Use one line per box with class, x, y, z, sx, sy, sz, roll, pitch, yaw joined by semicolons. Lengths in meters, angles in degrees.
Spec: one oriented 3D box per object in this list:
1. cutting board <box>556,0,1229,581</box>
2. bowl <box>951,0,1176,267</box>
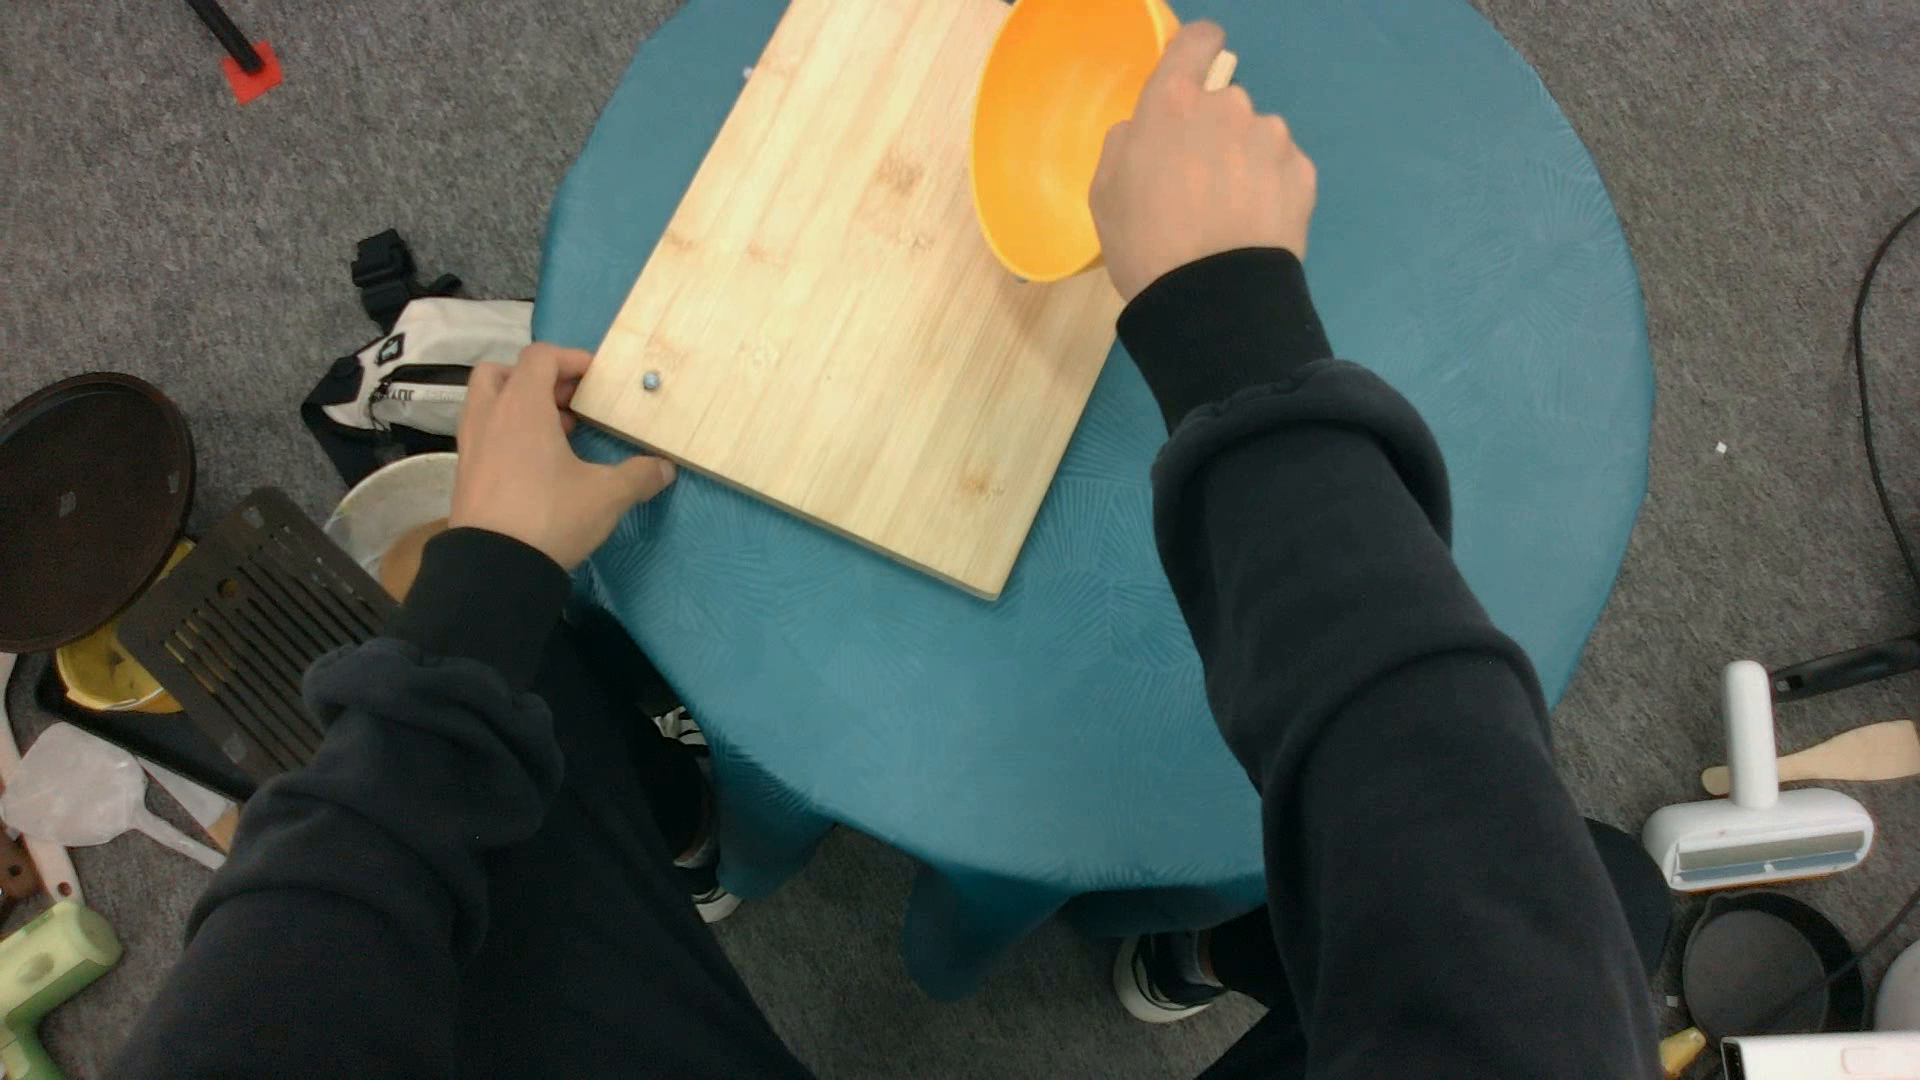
cutting board;-0.029;-0.177;0.745;0.251;0.023;0.349;23;75;3
bowl;0.058;-0.201;0.658;0.060;0.144;0.145;-1;72;-34
